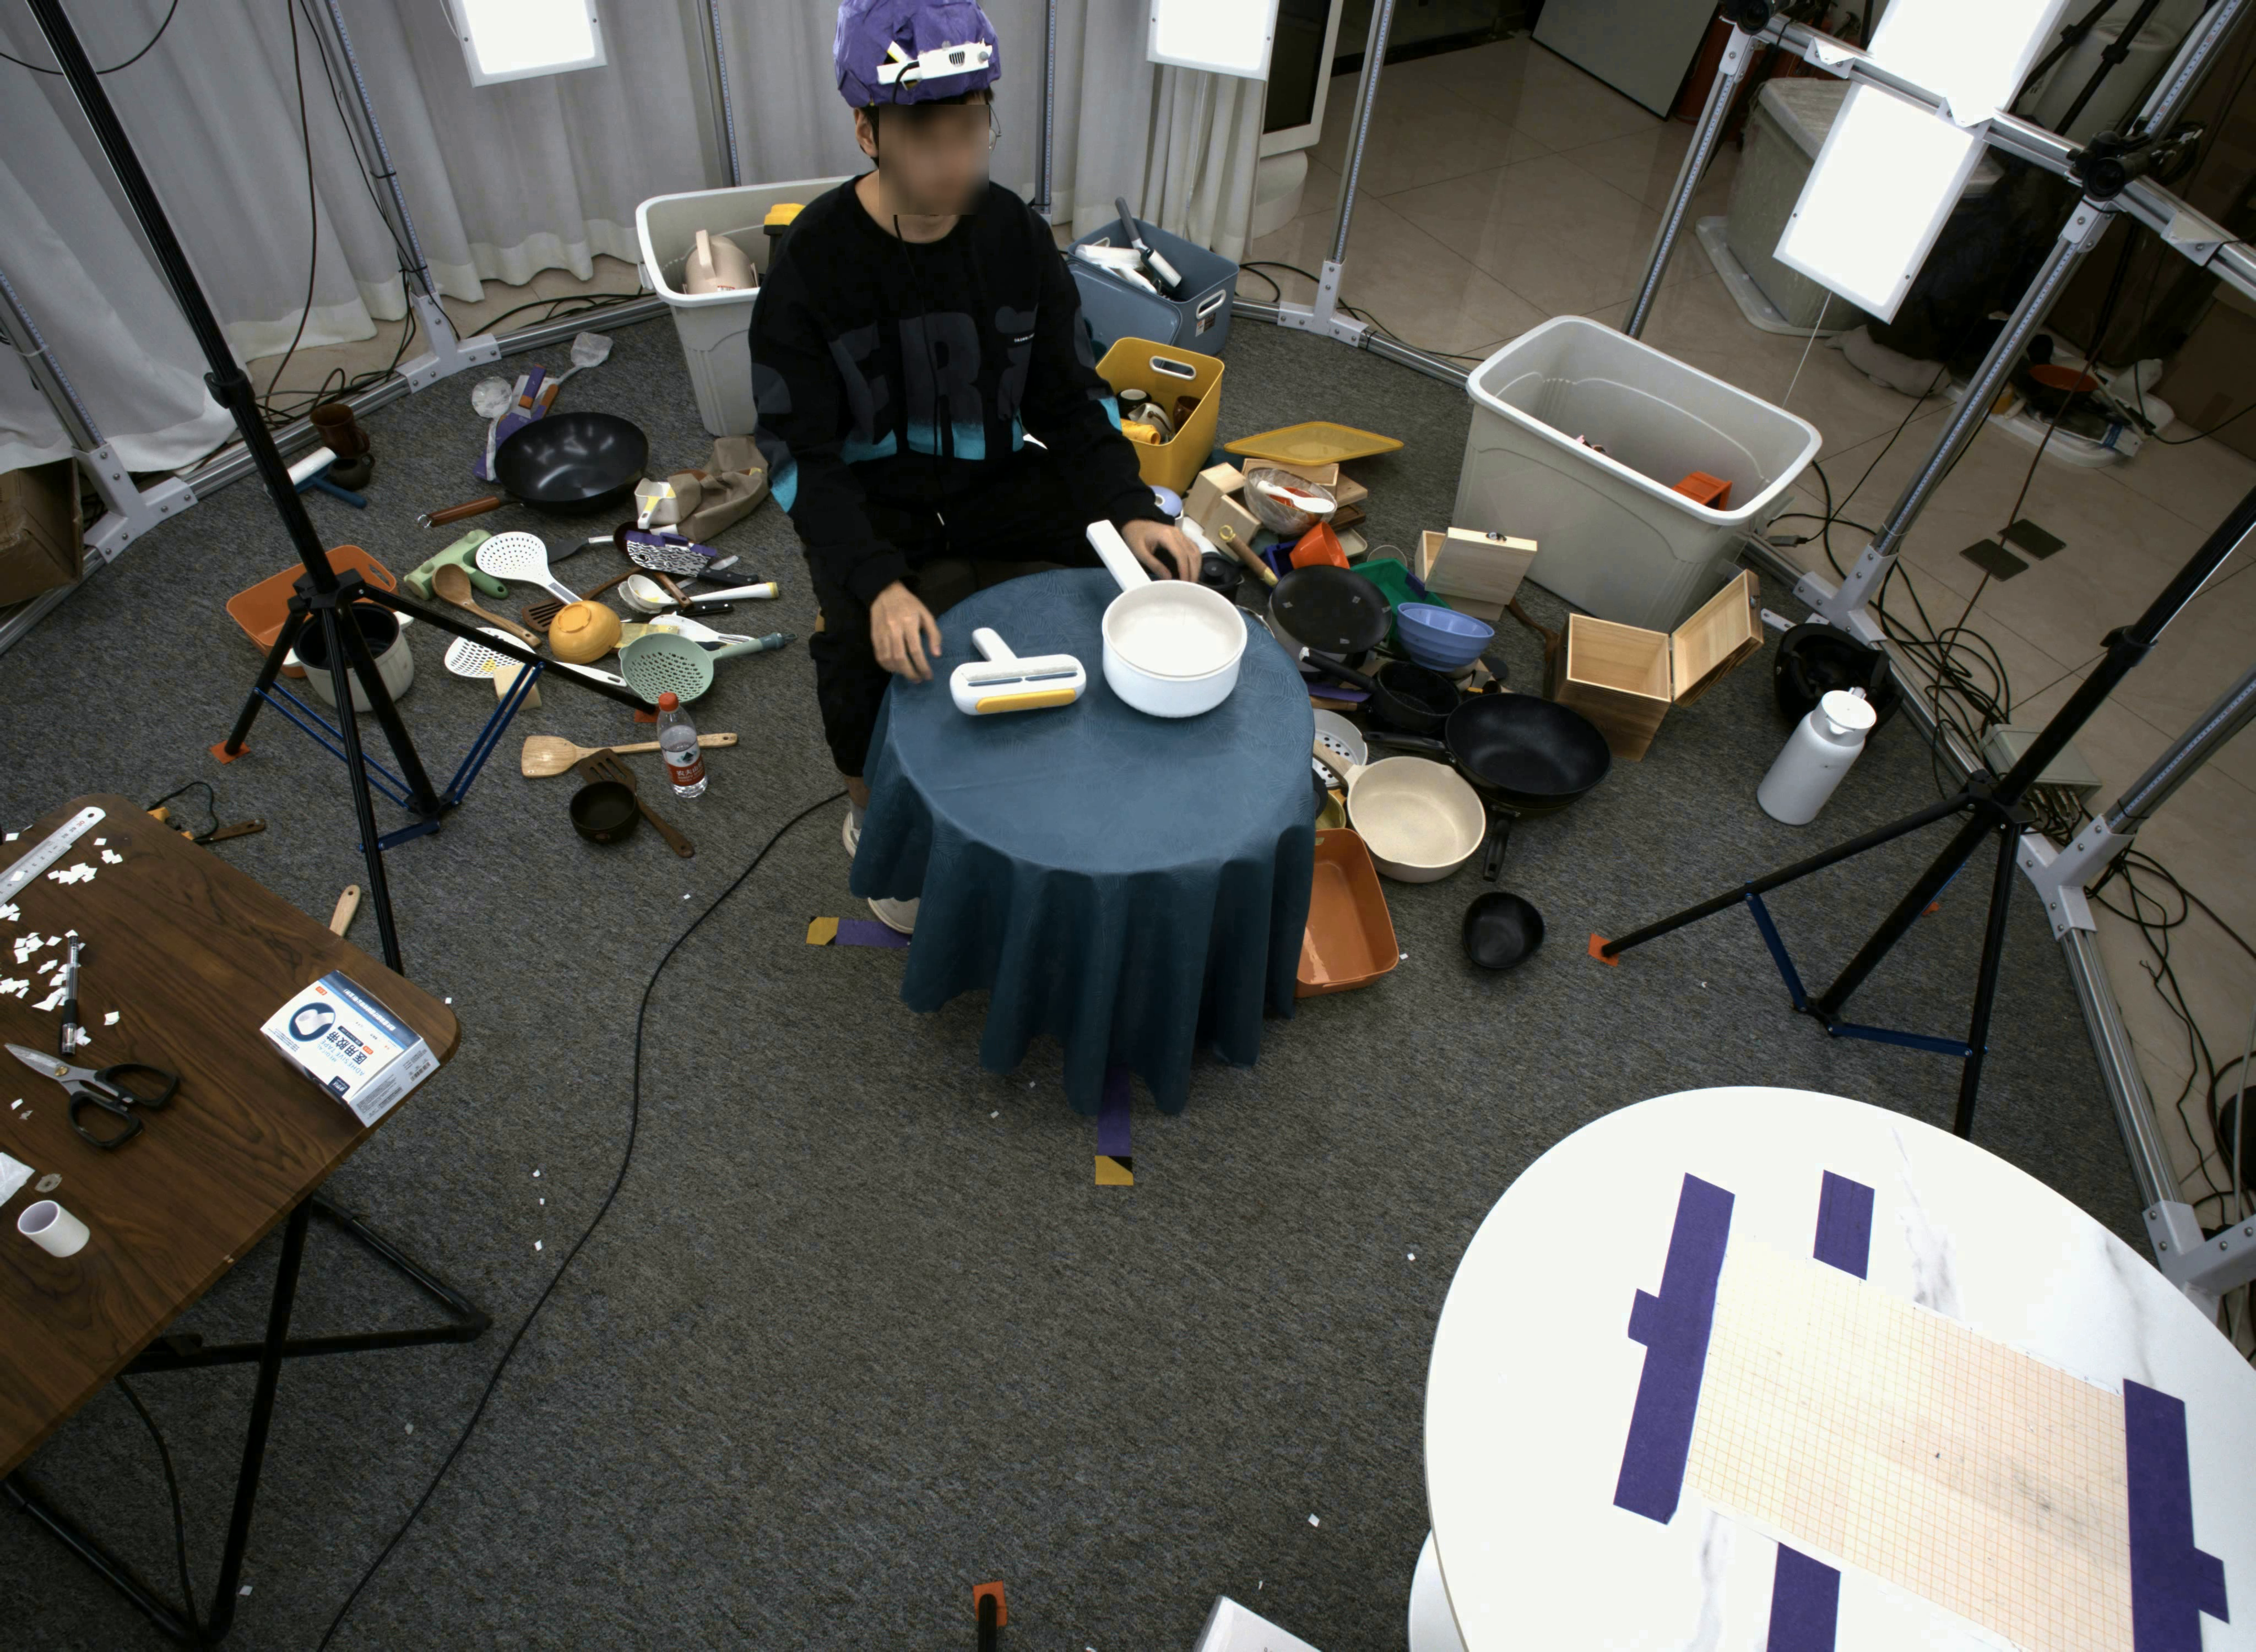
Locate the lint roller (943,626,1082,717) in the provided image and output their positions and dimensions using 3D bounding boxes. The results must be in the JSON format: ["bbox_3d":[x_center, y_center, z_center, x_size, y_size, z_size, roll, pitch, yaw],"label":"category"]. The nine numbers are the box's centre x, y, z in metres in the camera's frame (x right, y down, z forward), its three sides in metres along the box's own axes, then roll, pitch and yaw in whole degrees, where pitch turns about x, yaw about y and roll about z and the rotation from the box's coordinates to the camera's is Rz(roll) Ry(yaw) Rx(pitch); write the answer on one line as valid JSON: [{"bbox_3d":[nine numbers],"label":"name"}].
[{"bbox_3d":[-0.177,-0.232,1.814,0.192,0.072,0.197,-9,49,-18],"label":"lint roller"}]

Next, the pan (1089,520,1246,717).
[{"bbox_3d":[0.029,-0.301,1.865,0.201,0.099,0.363,-18,52,-18],"label":"pan"}]
